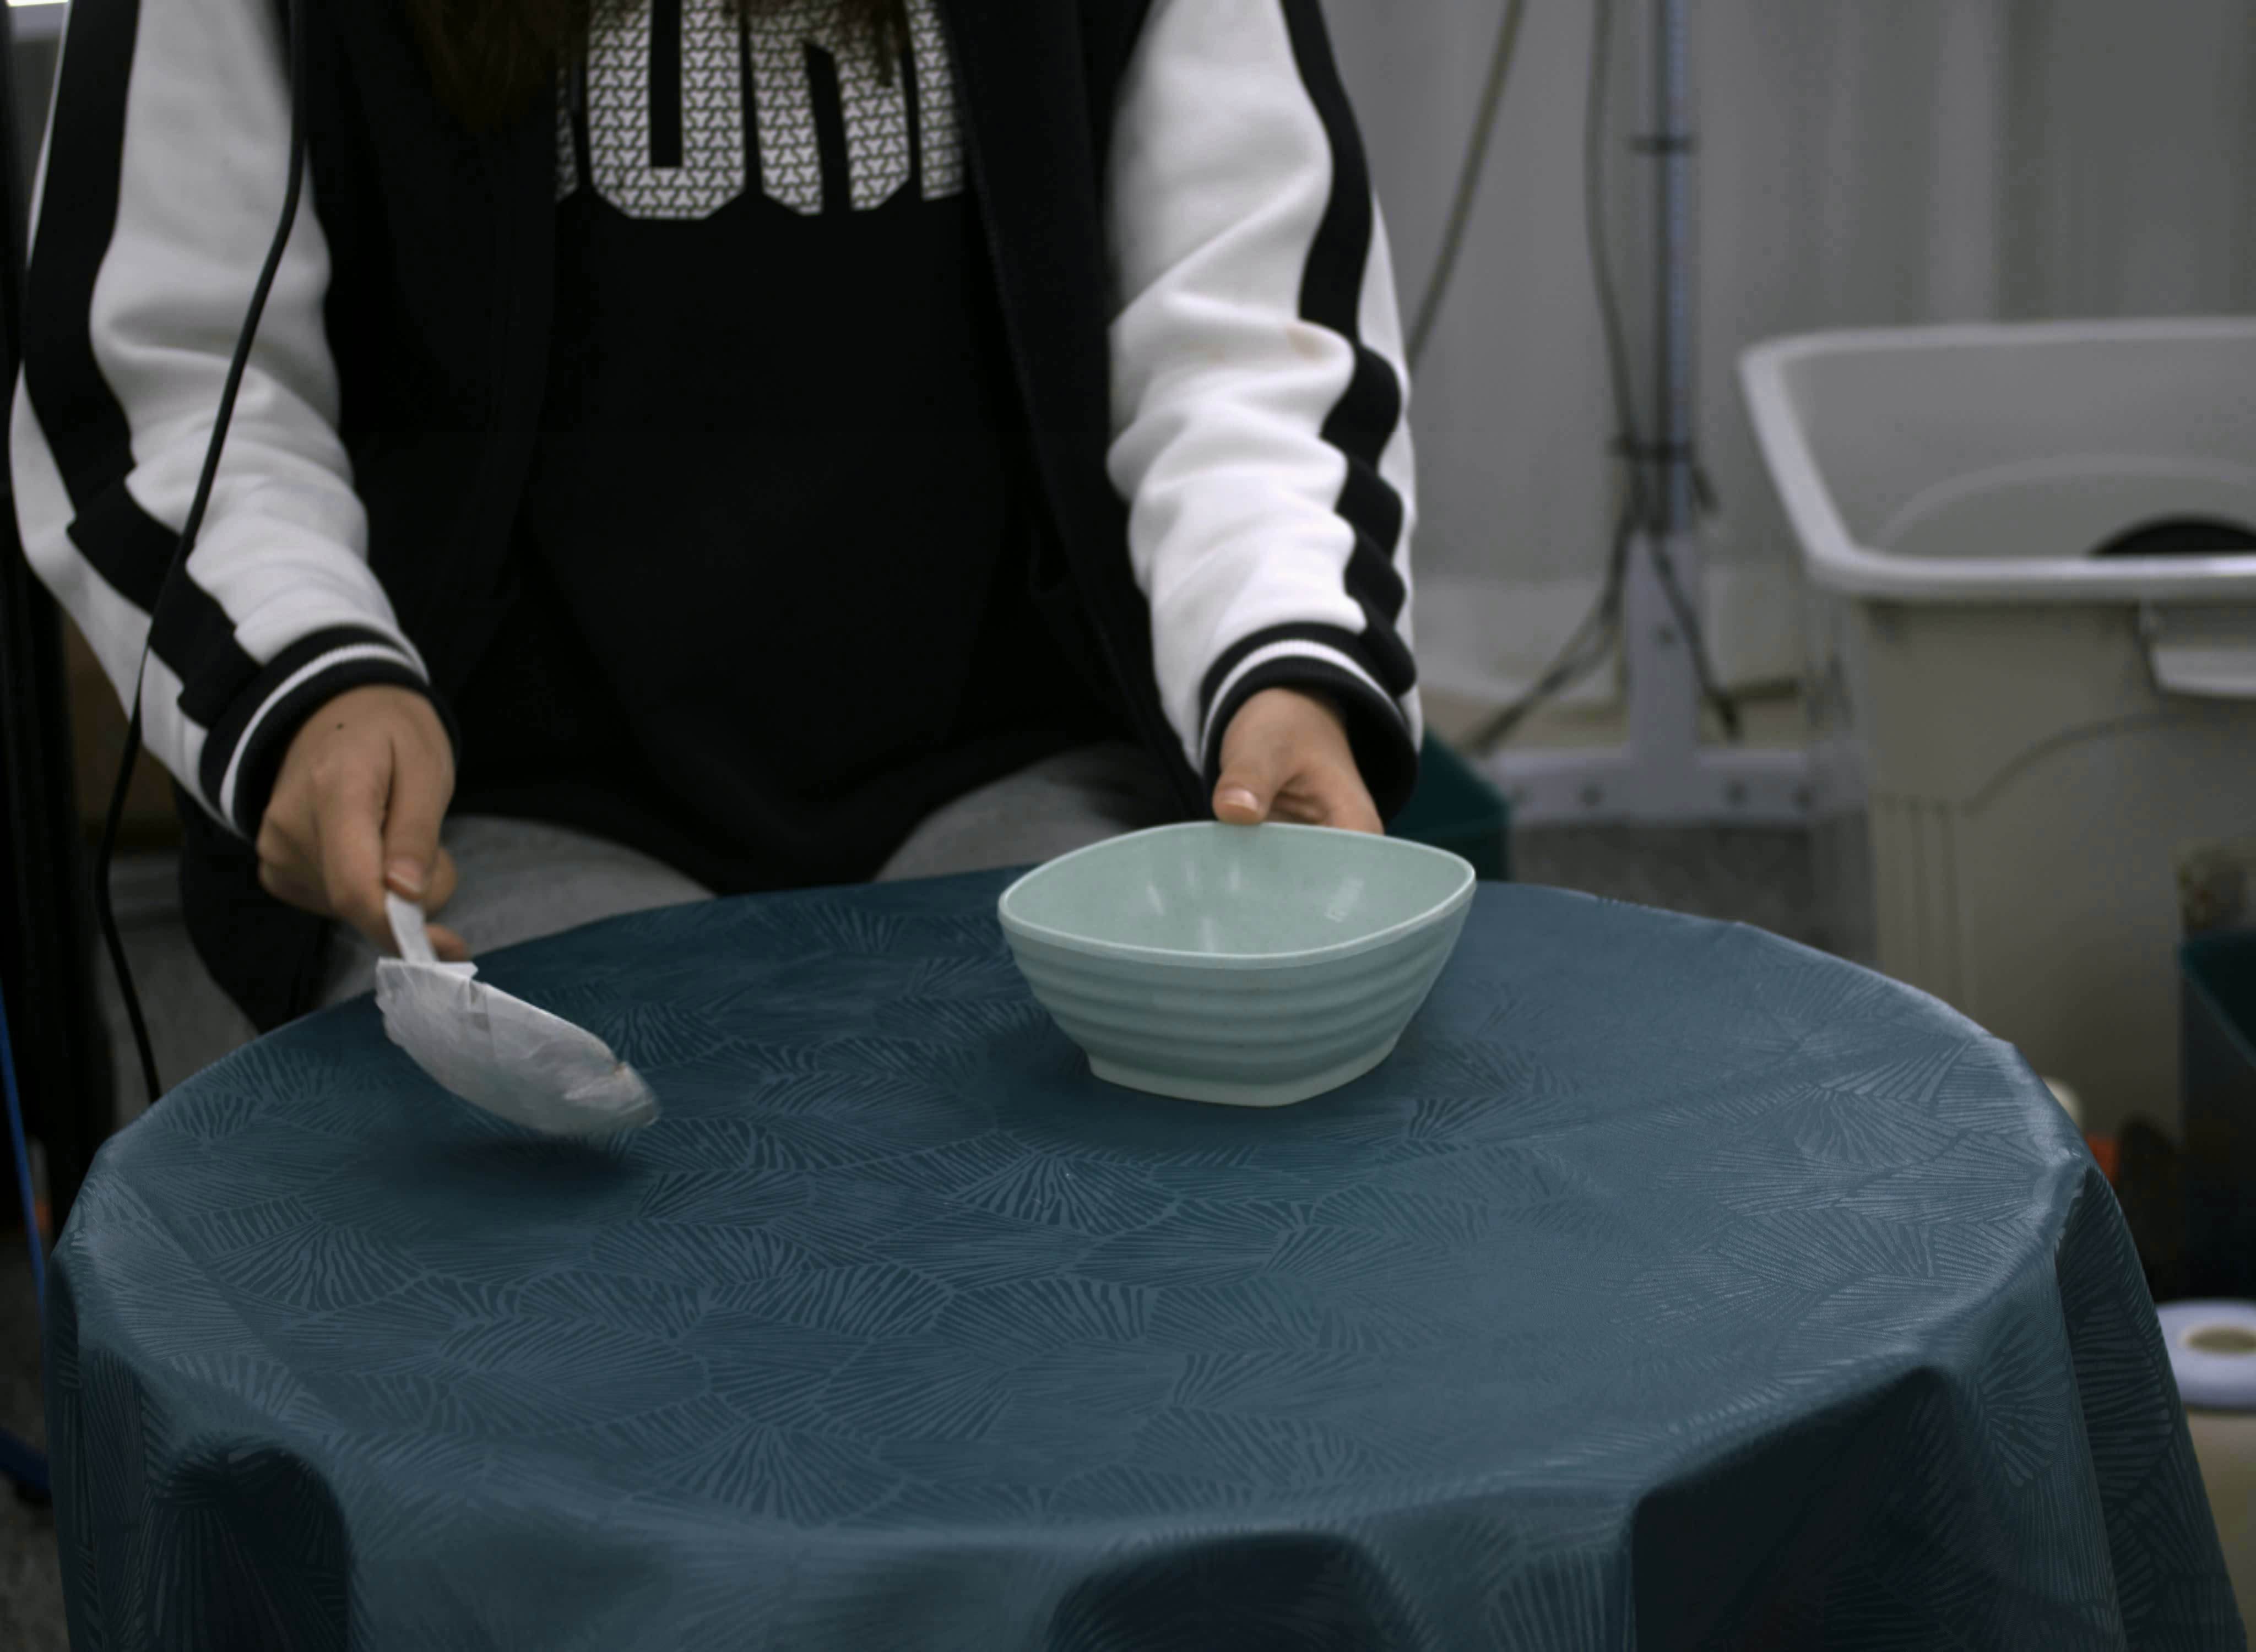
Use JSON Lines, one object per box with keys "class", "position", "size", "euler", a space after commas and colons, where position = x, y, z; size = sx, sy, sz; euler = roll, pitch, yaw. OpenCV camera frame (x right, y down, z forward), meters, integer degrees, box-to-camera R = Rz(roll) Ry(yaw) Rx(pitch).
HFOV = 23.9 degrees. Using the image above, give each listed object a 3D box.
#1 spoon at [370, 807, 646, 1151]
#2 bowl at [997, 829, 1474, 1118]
{"class": "spoon", "position": [-0.201, 0.032, 1.680], "size": [0.059, 0.099, 0.281], "euler": [-42, 22, 6]}
{"class": "bowl", "position": [0.035, 0.049, 1.665], "size": [0.150, 0.058, 0.152], "euler": [-3, 15, -1]}
